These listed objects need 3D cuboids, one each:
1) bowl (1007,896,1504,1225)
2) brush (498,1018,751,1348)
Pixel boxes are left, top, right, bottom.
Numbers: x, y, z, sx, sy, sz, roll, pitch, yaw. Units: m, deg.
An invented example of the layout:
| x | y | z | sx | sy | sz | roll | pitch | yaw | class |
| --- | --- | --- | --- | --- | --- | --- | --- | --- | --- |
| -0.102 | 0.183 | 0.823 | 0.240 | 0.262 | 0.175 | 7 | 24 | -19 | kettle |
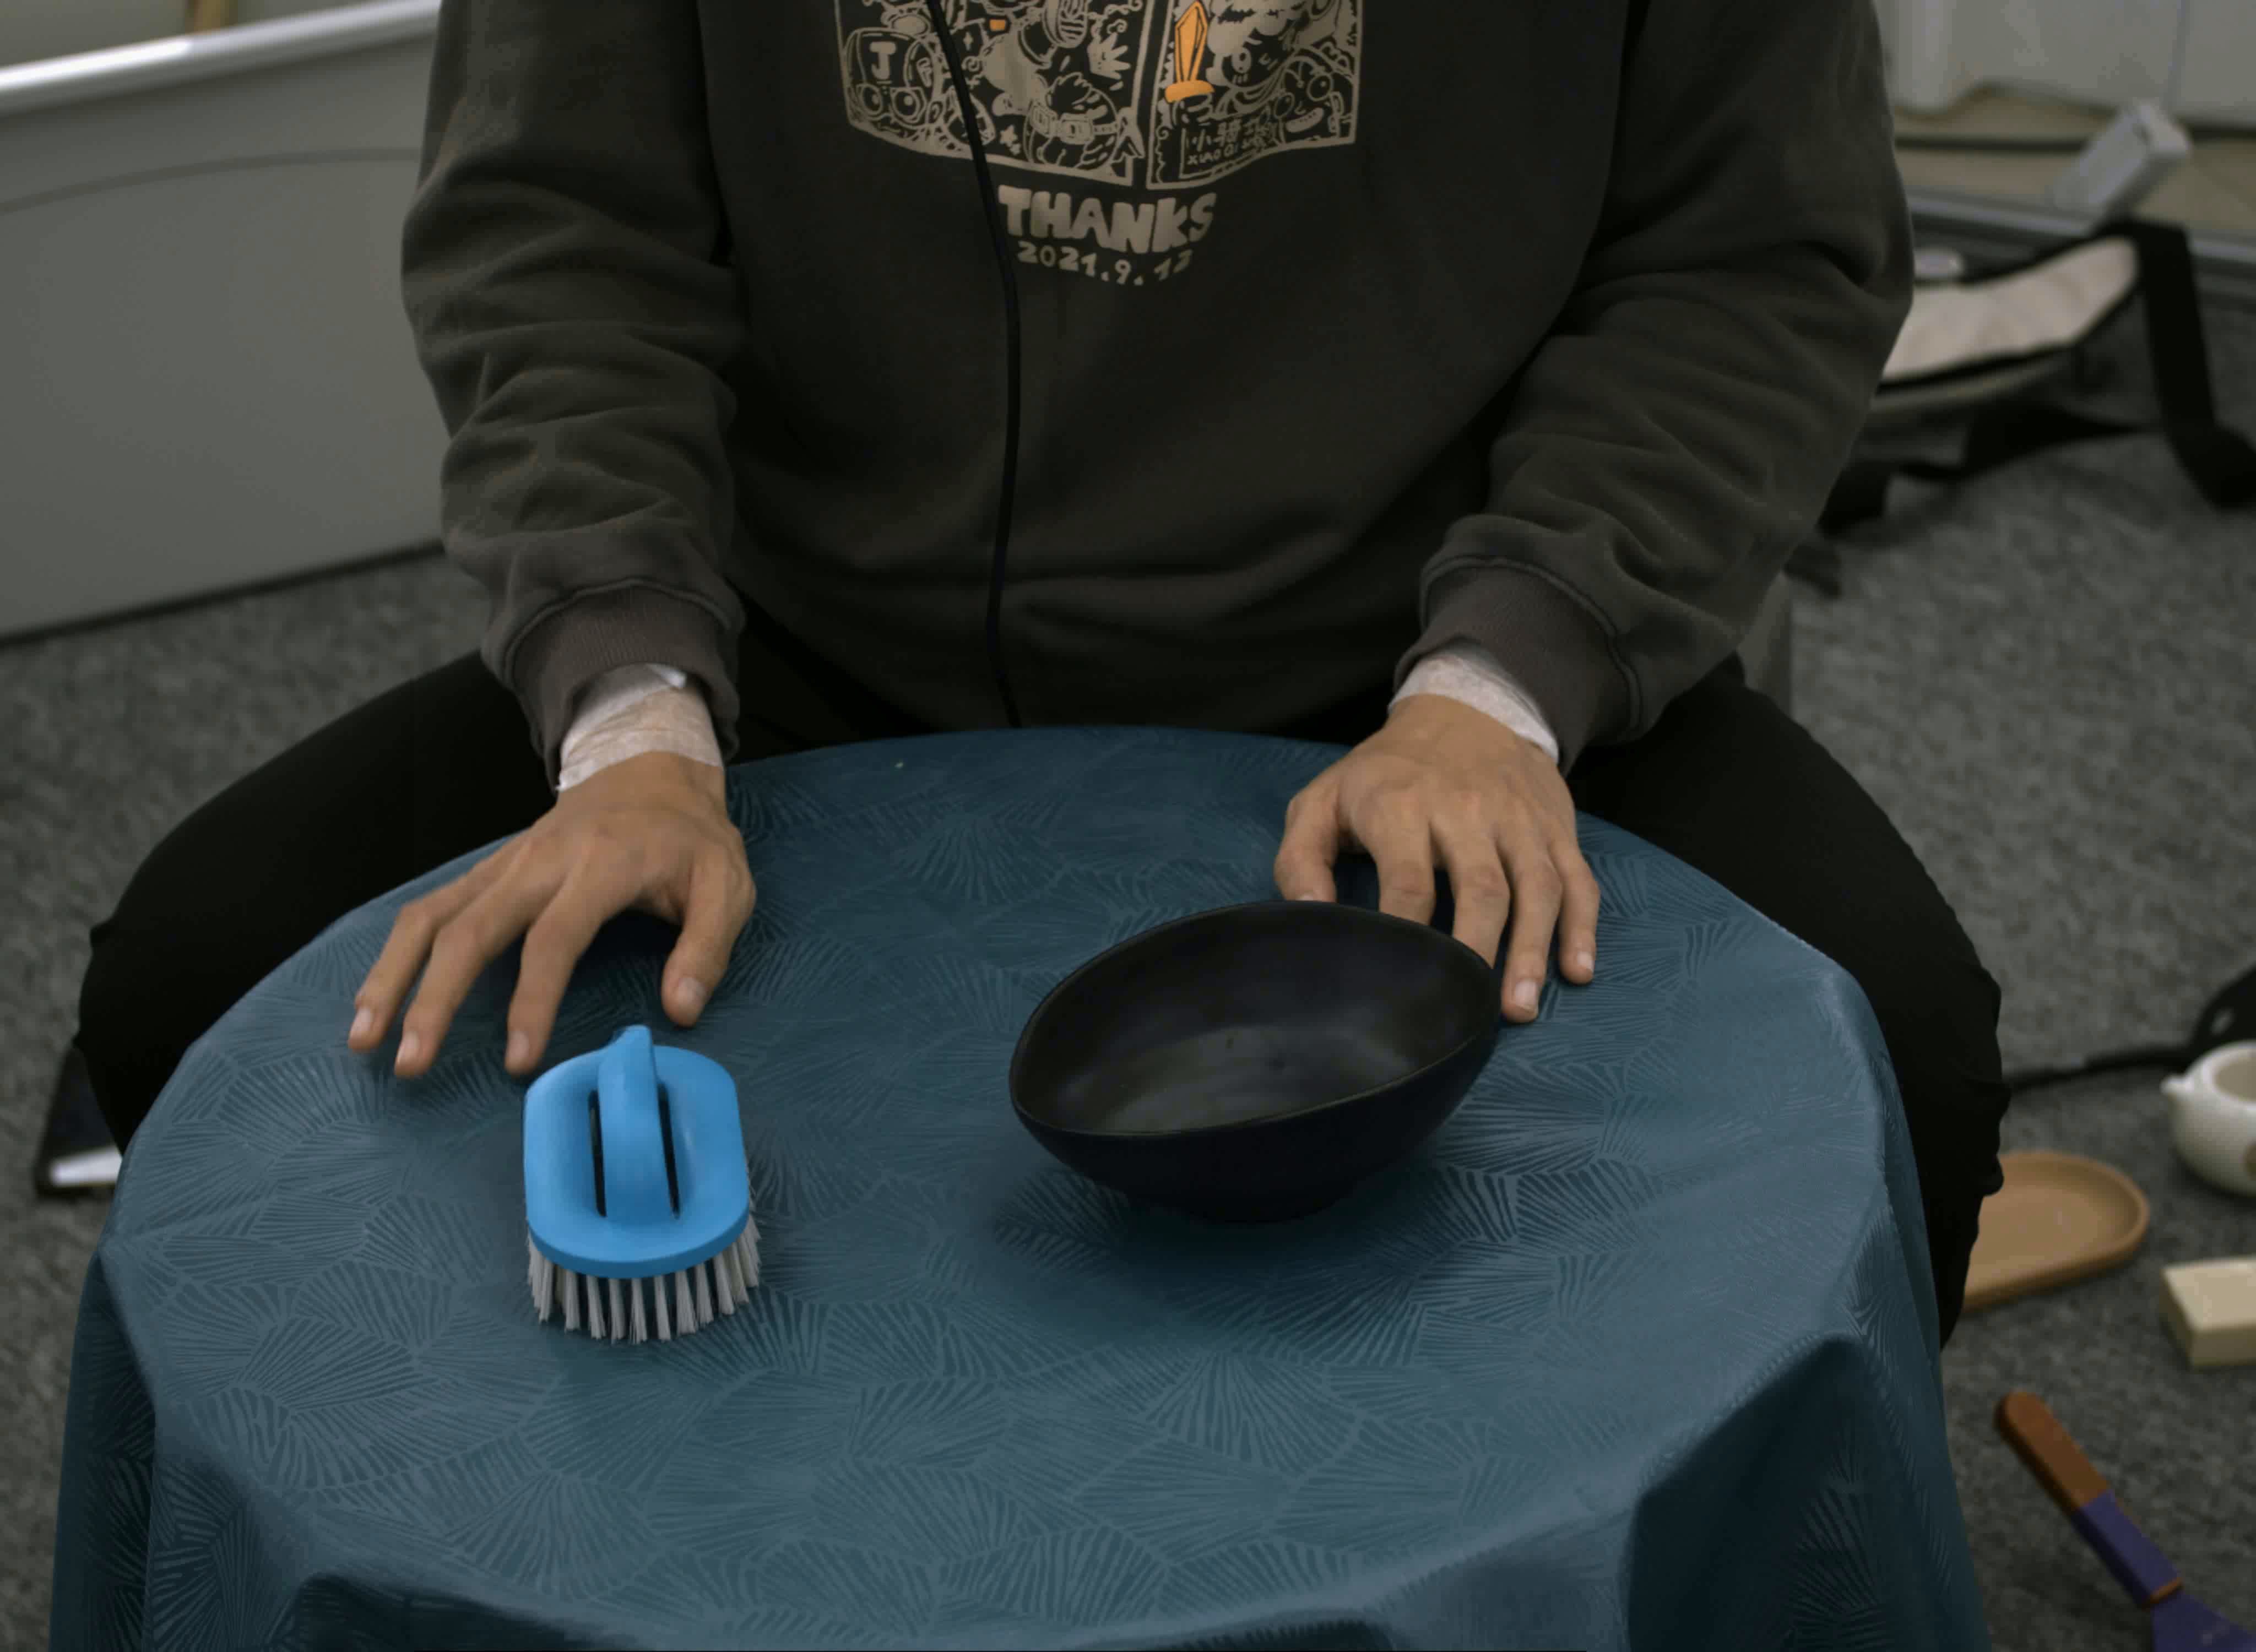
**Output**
| x | y | z | sx | sy | sz | roll | pitch | yaw | class |
| --- | --- | --- | --- | --- | --- | --- | --- | --- | --- |
| 0.045 | 0.088 | 1.854 | 0.171 | 0.066 | 0.138 | -17 | 30 | -22 | bowl |
| -0.165 | 0.106 | 1.836 | 0.084 | 0.063 | 0.144 | -1 | 28 | -5 | brush |
